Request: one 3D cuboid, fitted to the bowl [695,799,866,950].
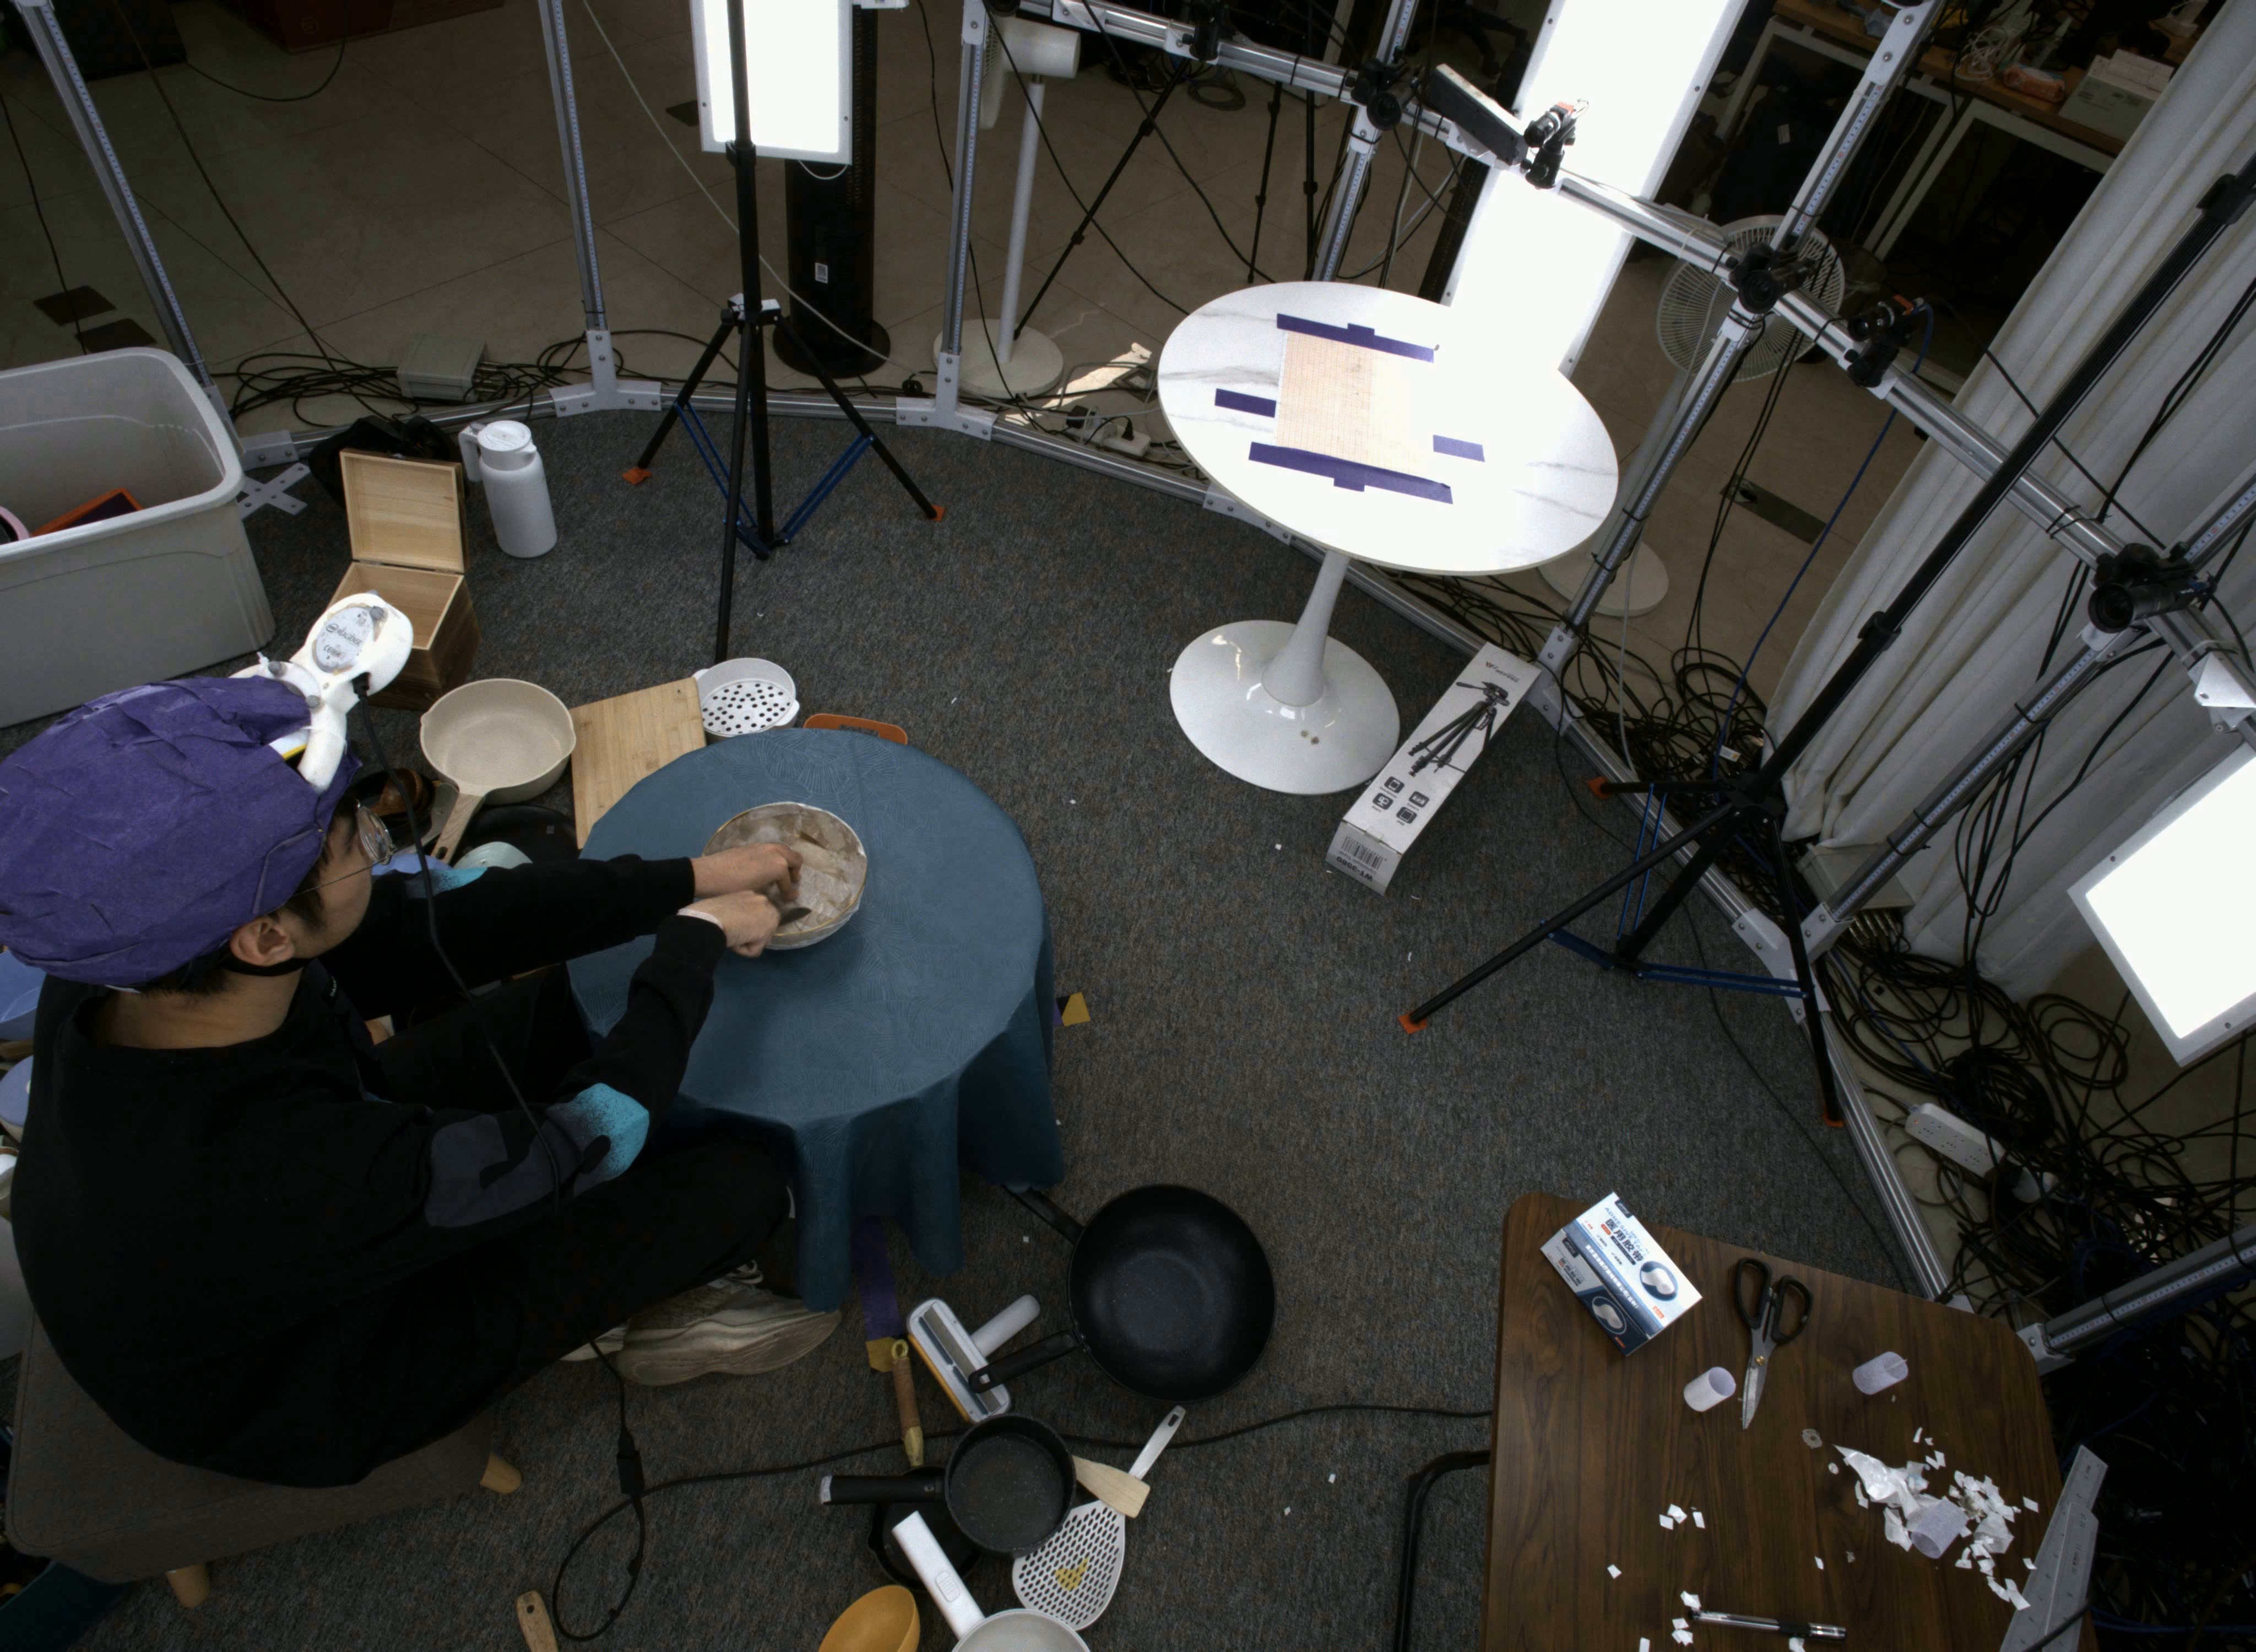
[{"bbox_3d":[-0.428,0.075,1.595,0.214,0.096,0.211,9,52,-9],"label":"bowl"}]

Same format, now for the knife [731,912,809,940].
[{"bbox_3d":[-0.417,0.113,1.527,0.017,0.226,0.026,16,92,6],"label":"knife"}]
